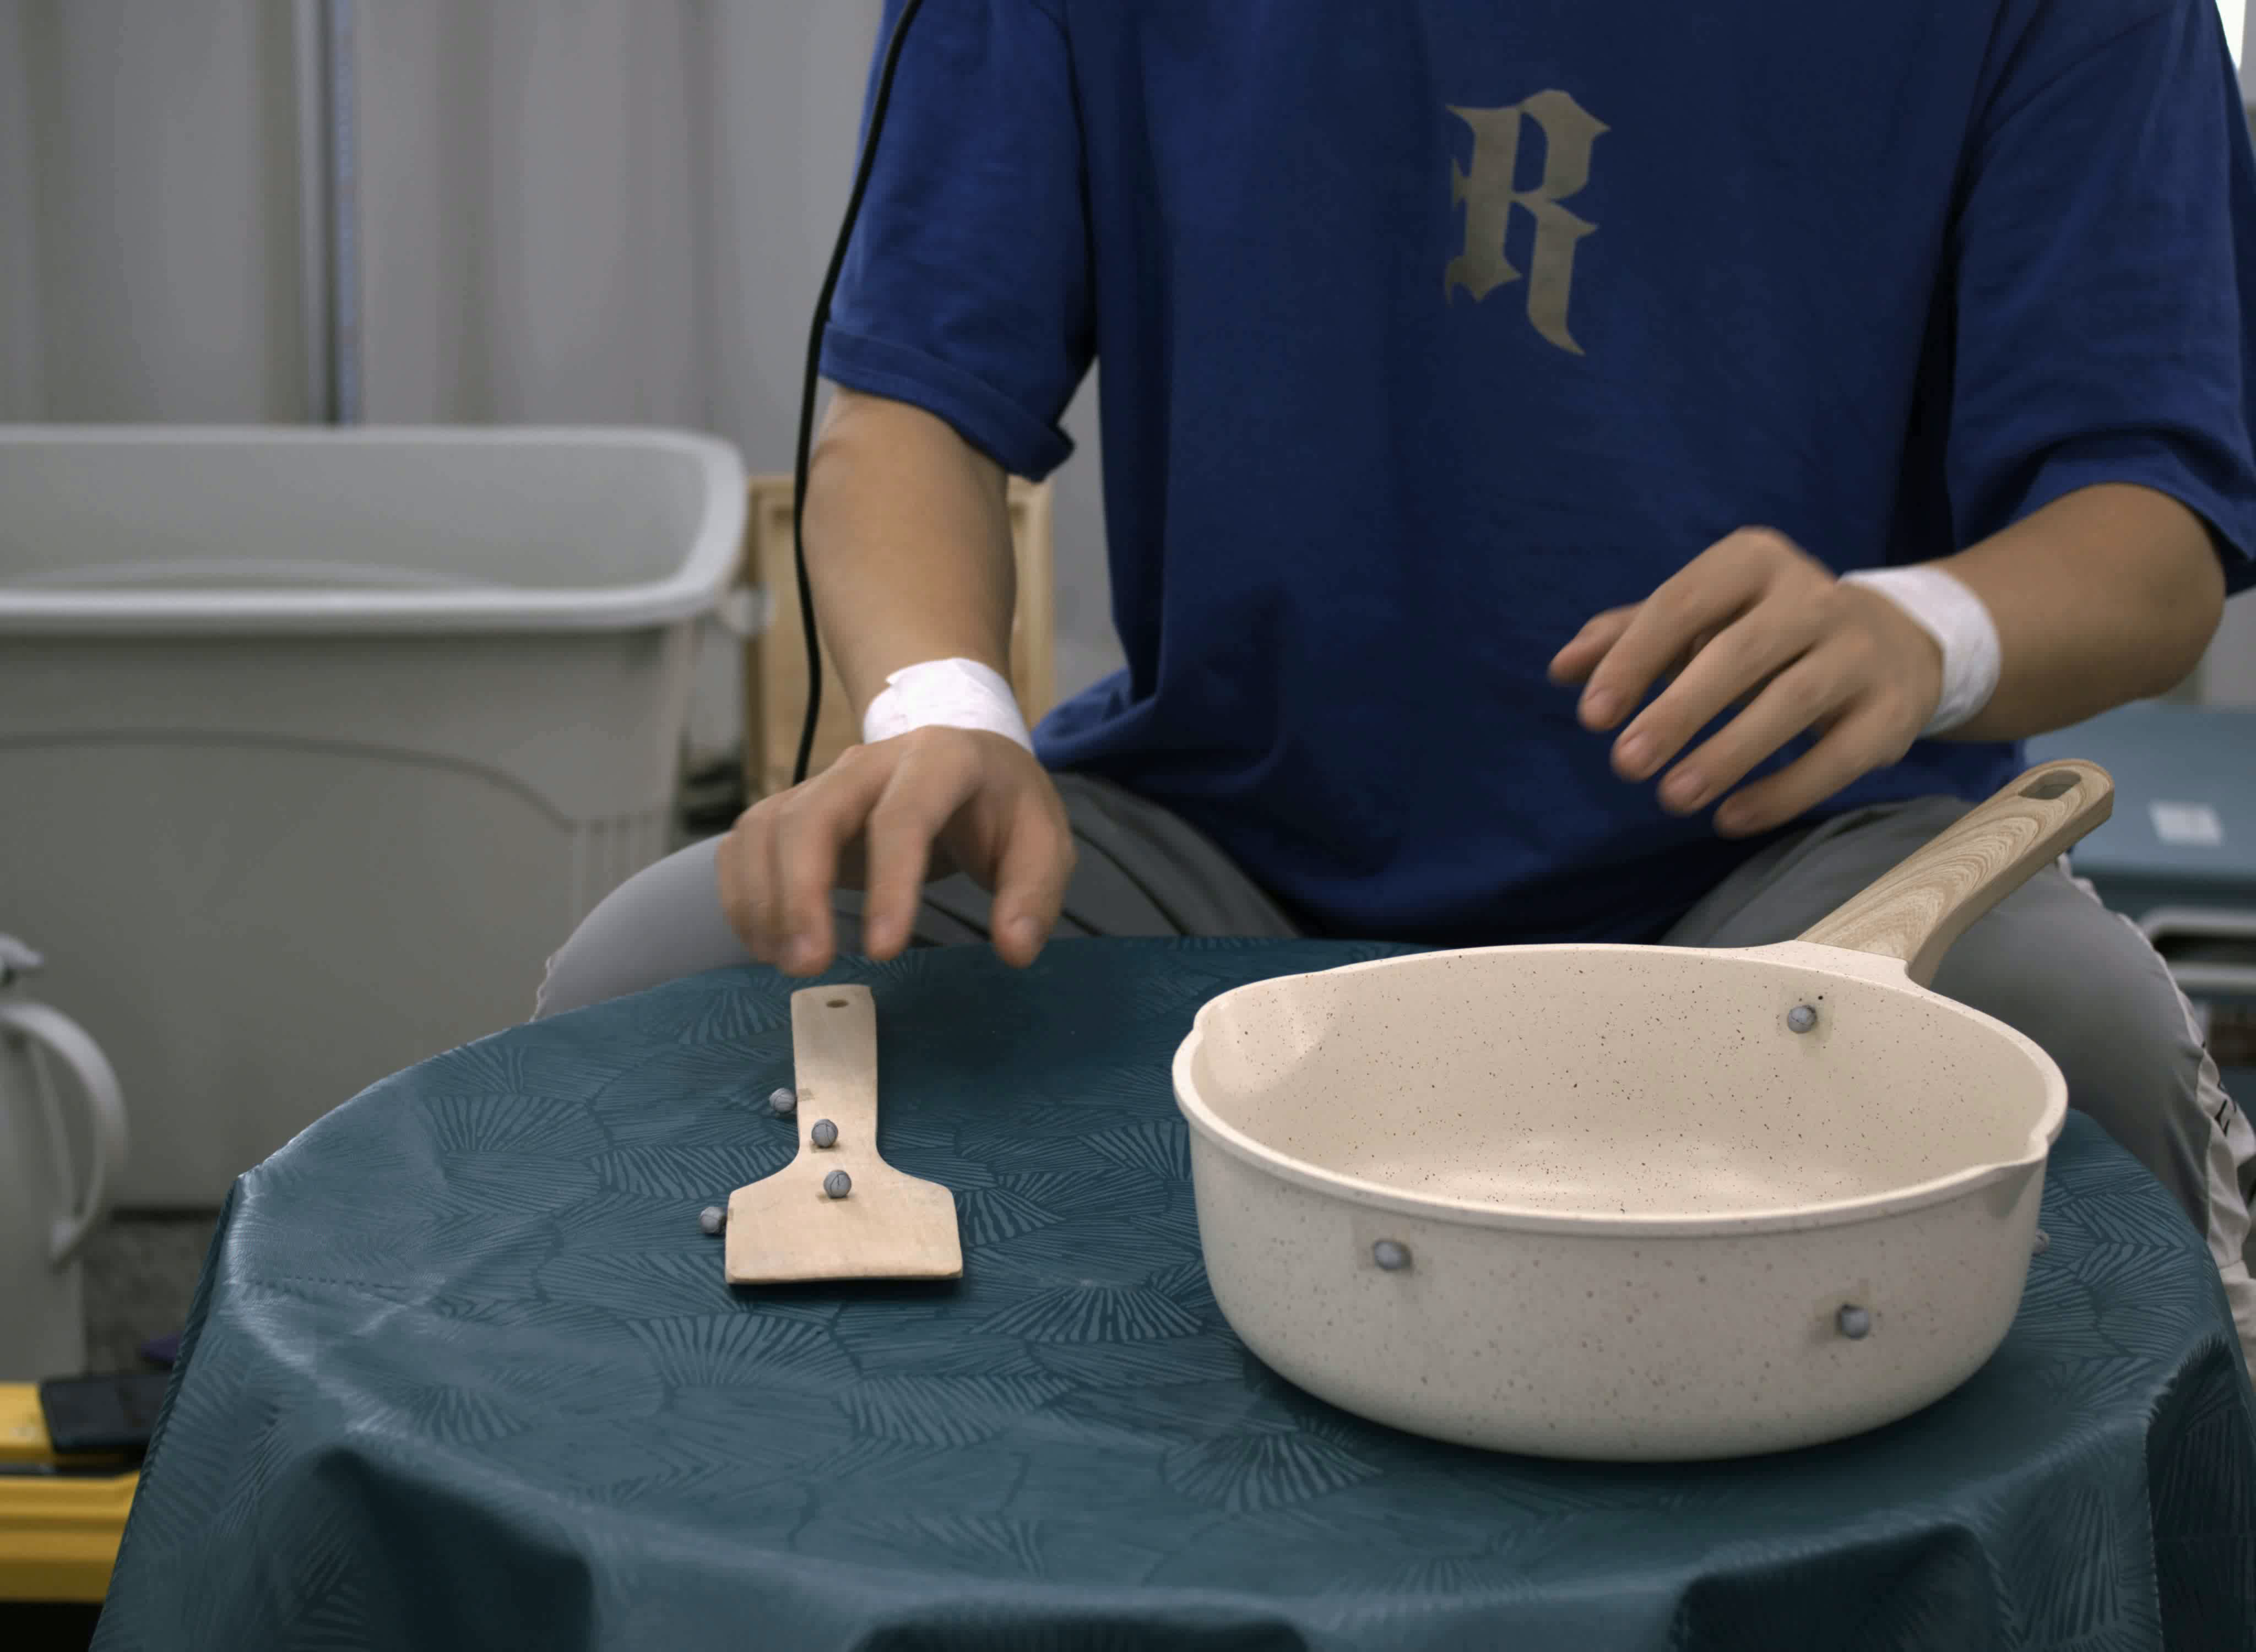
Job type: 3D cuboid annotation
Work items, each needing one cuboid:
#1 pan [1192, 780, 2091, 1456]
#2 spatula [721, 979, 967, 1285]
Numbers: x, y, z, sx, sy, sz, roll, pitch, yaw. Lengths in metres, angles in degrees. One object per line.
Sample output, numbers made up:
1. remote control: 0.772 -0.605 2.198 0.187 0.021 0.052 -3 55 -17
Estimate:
1. pan: 0.192 0.080 1.561 0.260 0.103 0.436 8 17 31
2. spatula: -0.091 0.094 1.666 0.072 0.011 0.291 -2 16 -3
